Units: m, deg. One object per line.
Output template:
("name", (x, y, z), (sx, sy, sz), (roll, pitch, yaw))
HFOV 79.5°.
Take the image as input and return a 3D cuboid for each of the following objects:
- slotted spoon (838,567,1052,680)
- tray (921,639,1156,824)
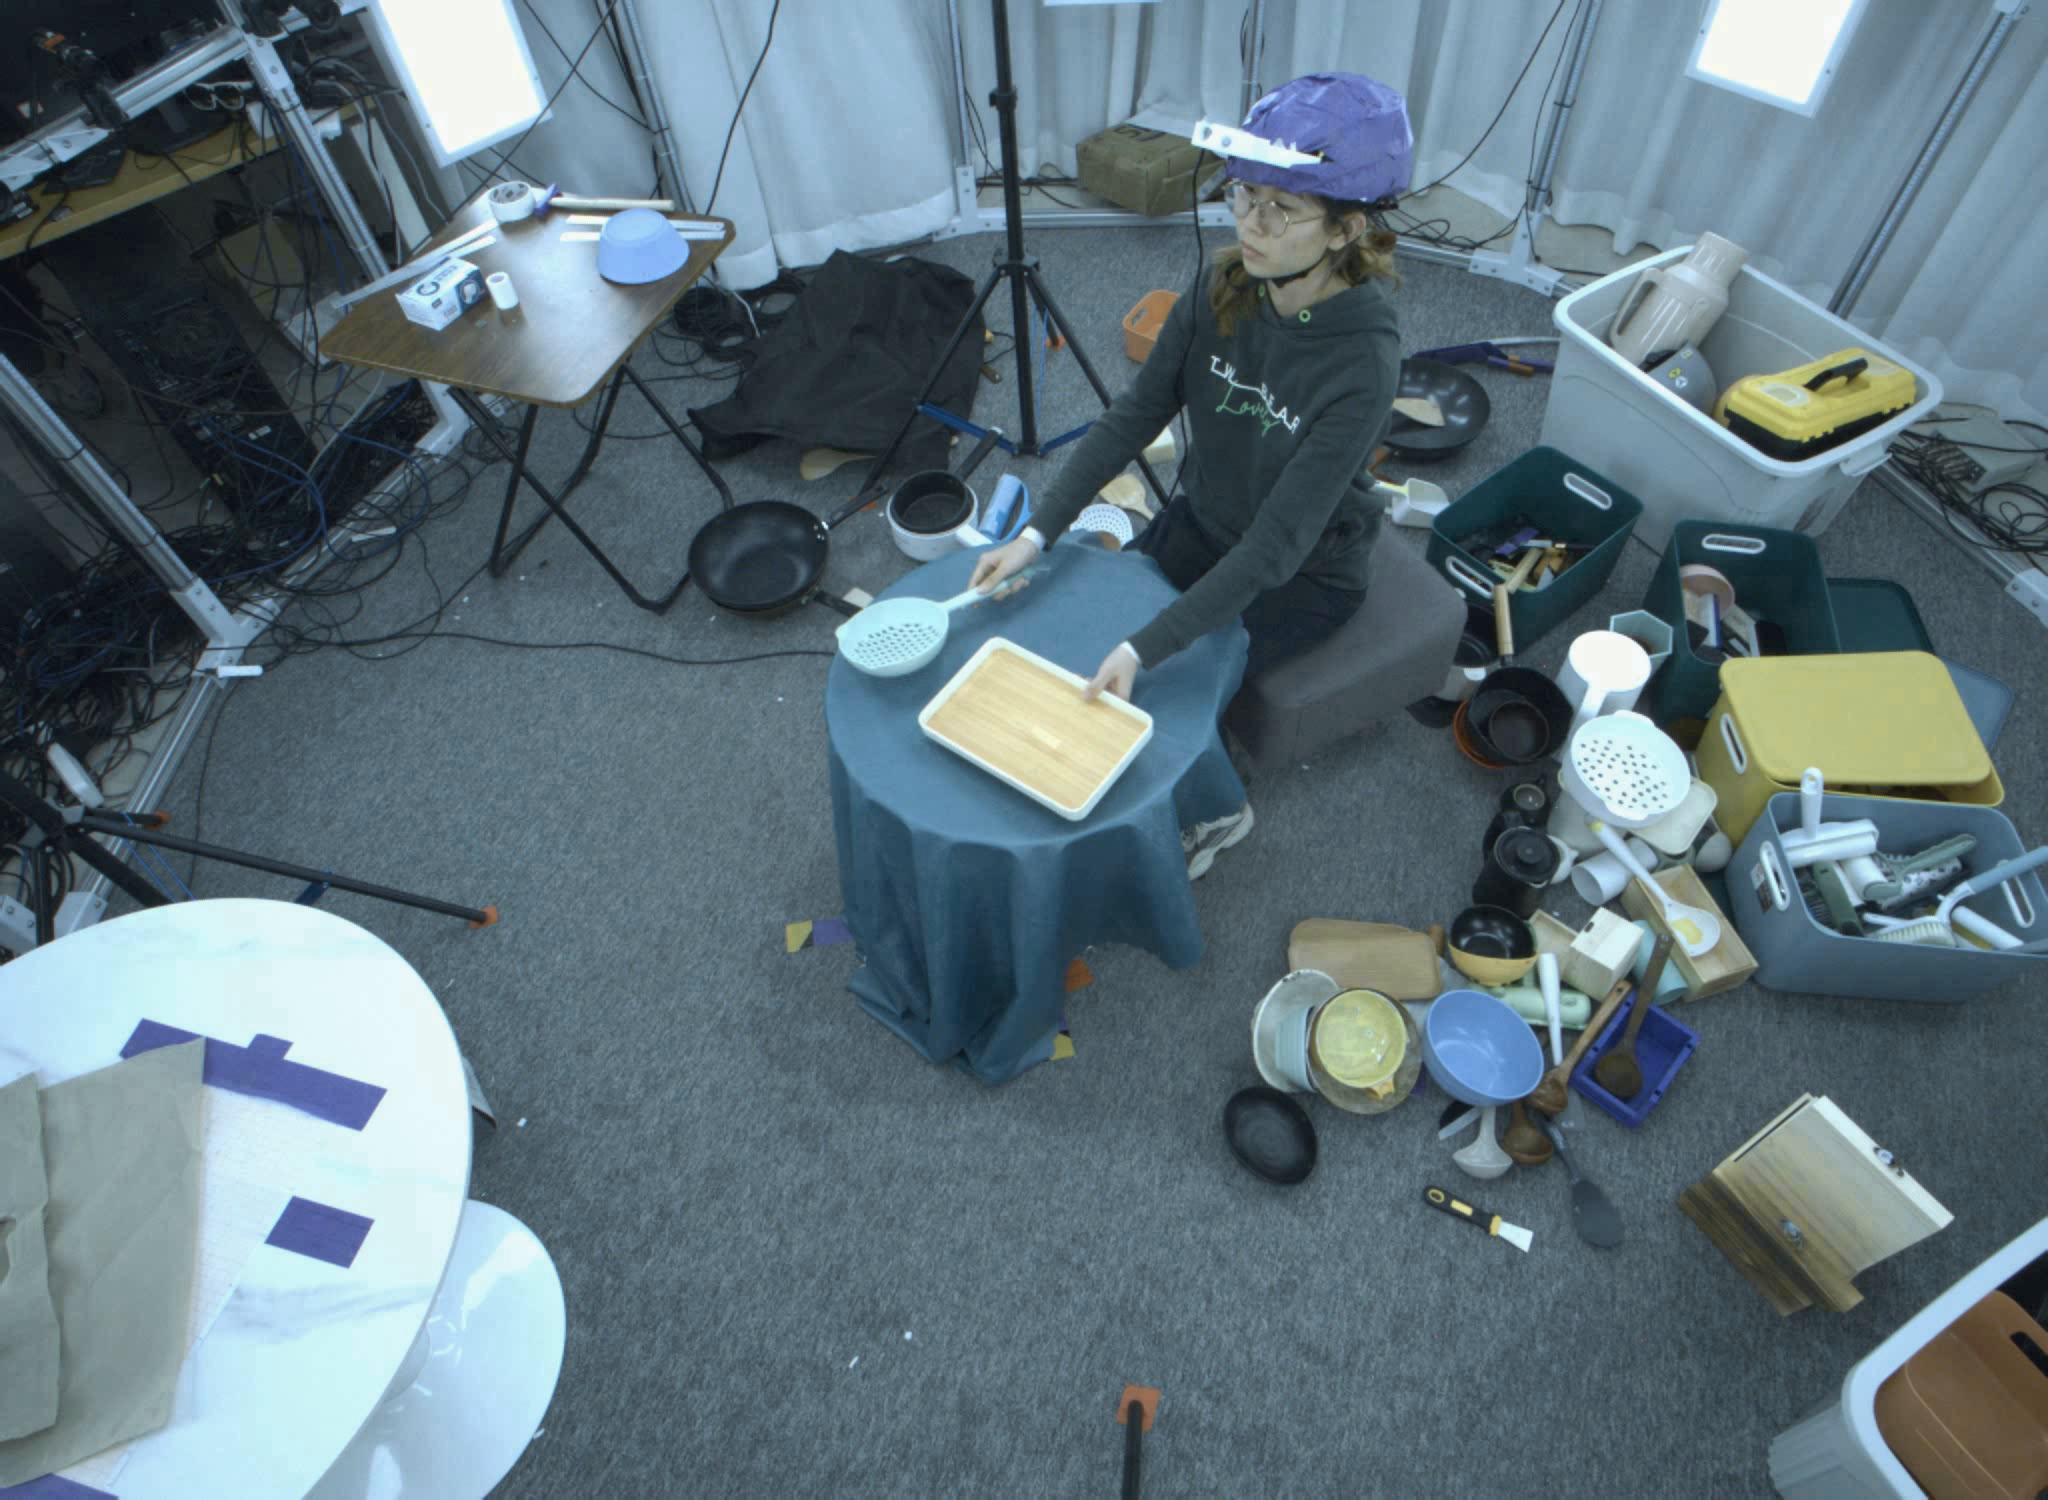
("slotted spoon", (-0.113, -0.212, 1.896), (0.361, 0.076, 0.165), (-34, 48, -14))
("tray", (0.018, -0.032, 1.757), (0.295, 0.028, 0.192), (30, 66, 24))
